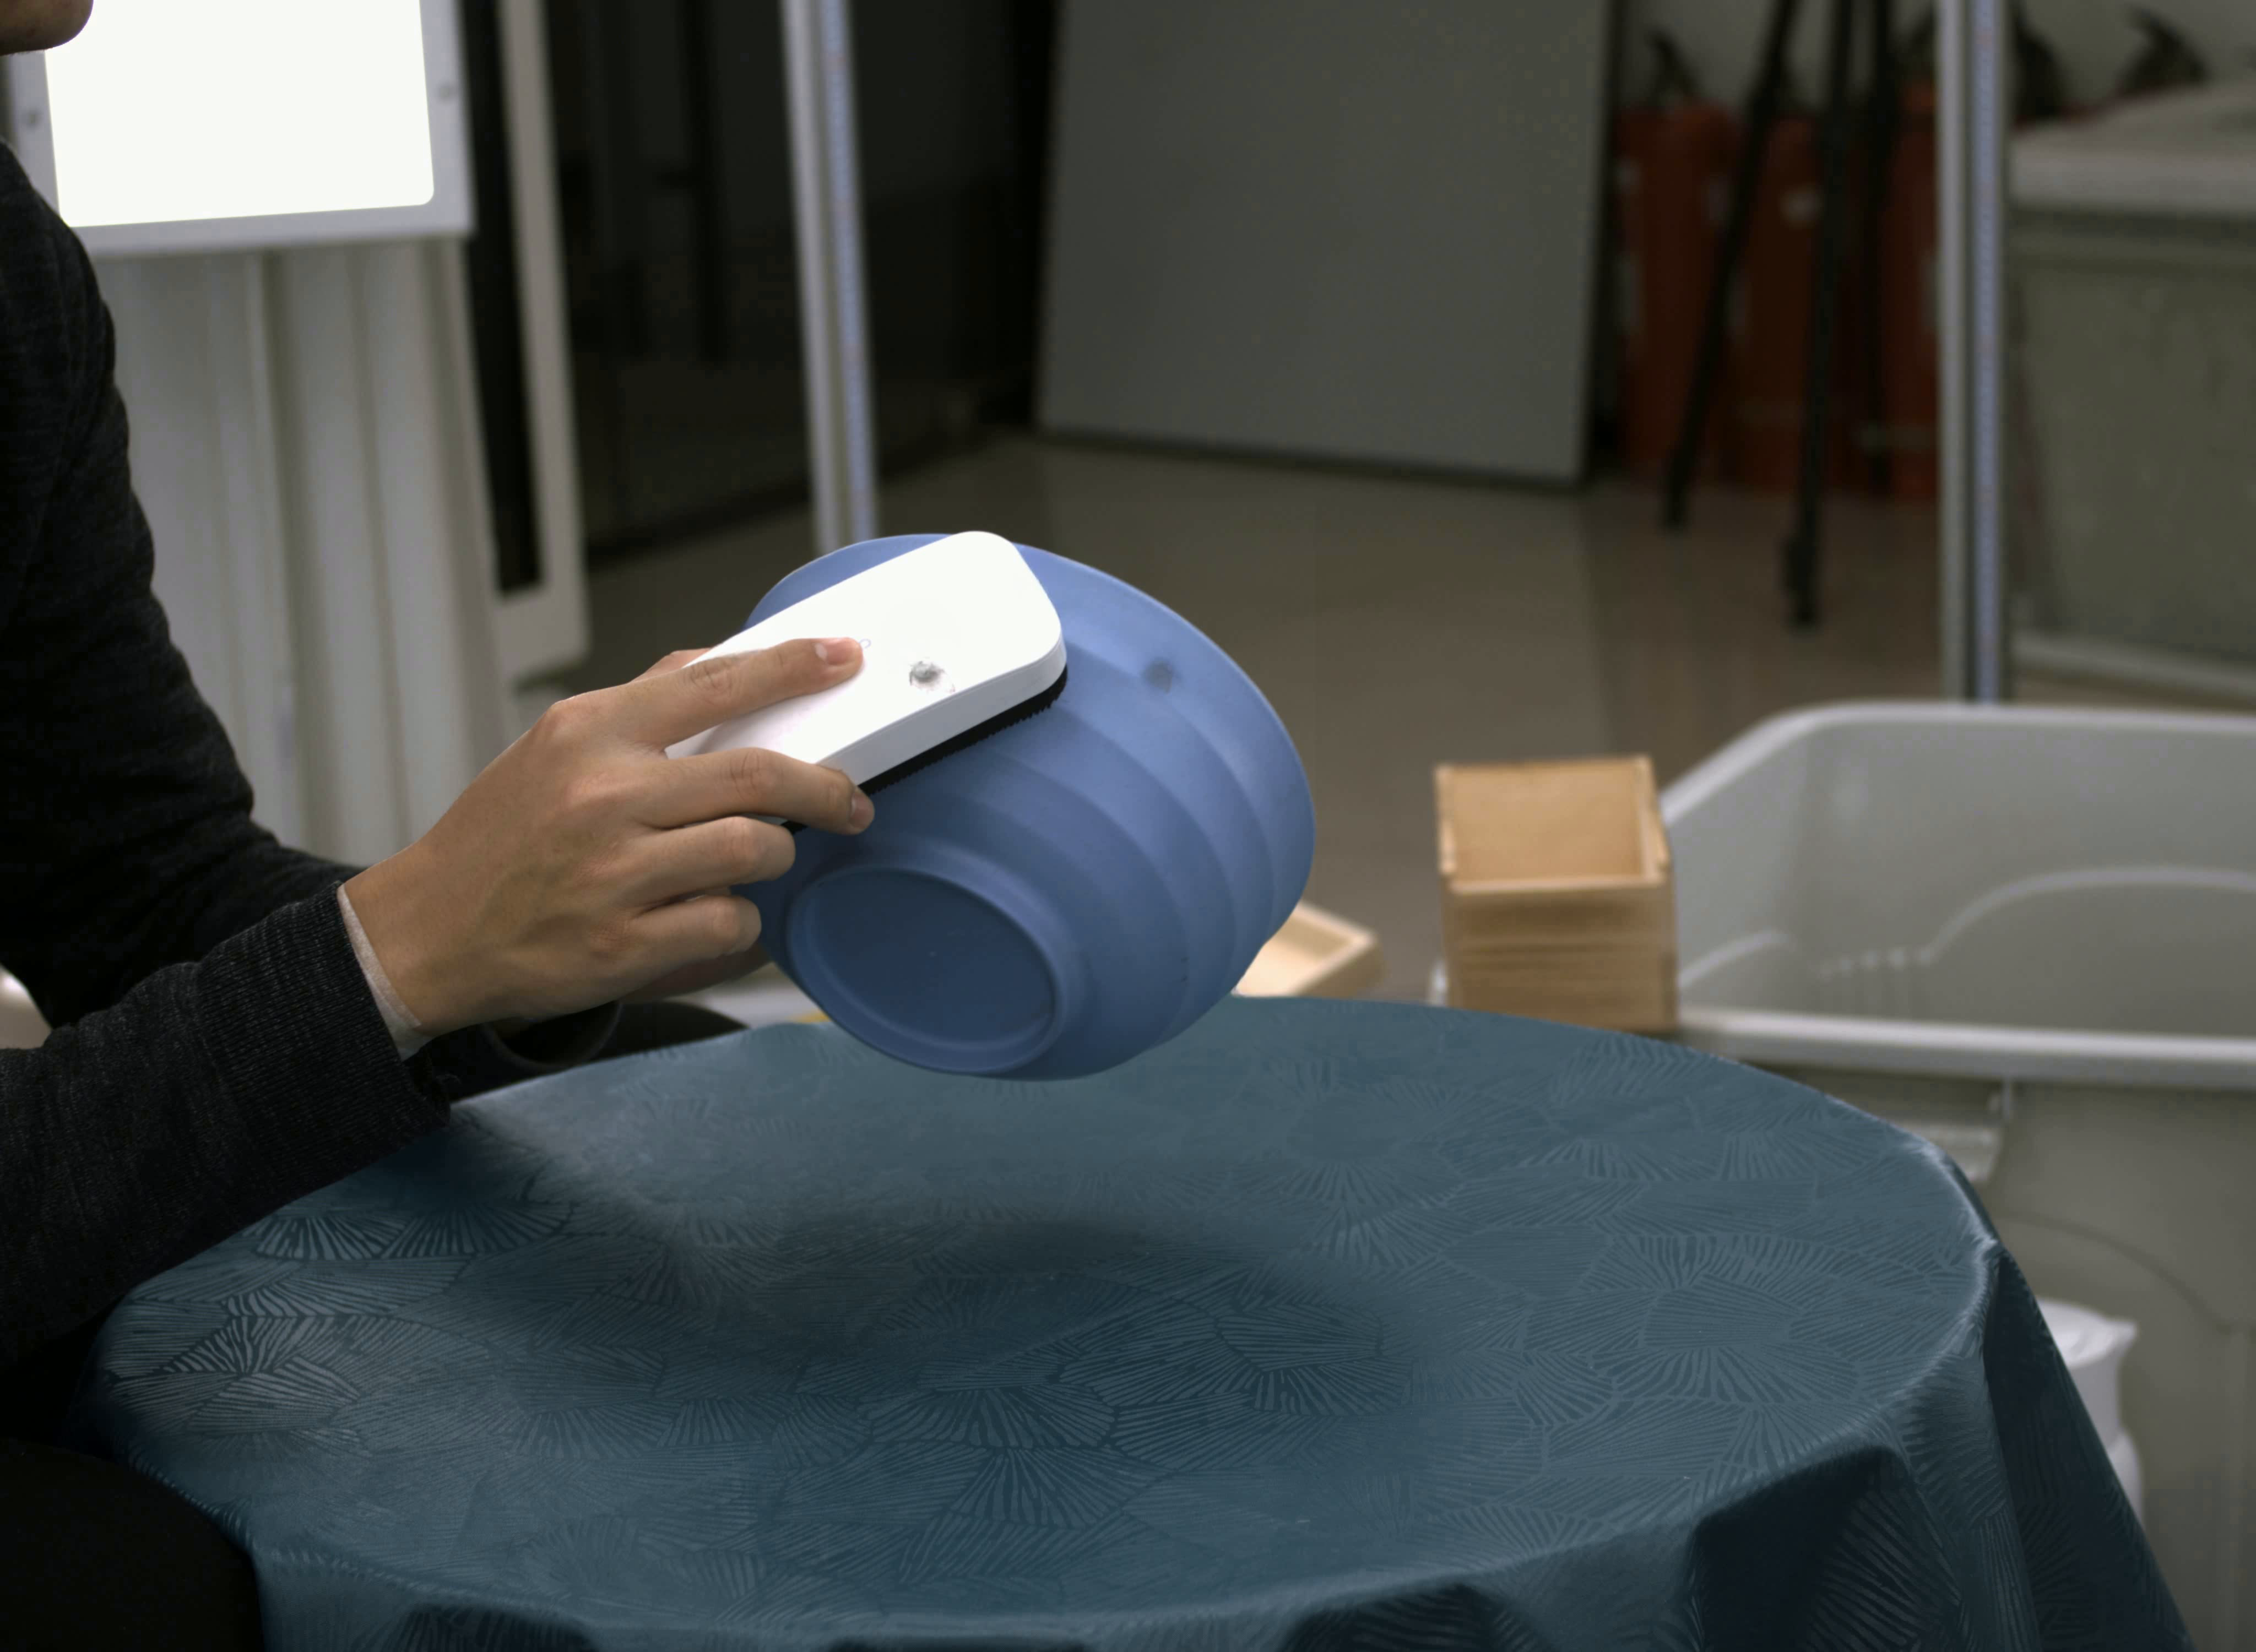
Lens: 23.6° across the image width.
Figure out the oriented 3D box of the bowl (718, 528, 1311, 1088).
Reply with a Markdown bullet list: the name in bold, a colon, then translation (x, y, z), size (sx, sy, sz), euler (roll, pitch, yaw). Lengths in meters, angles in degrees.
- **bowl**: translation (-0.049, 0.013, 1.668), size (0.196, 0.196, 0.095), euler (3, 44, 24)

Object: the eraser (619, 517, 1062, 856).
- **eraser**: translation (-0.085, -0.043, 1.590), size (0.130, 0.034, 0.064), euler (-27, 48, -3)
